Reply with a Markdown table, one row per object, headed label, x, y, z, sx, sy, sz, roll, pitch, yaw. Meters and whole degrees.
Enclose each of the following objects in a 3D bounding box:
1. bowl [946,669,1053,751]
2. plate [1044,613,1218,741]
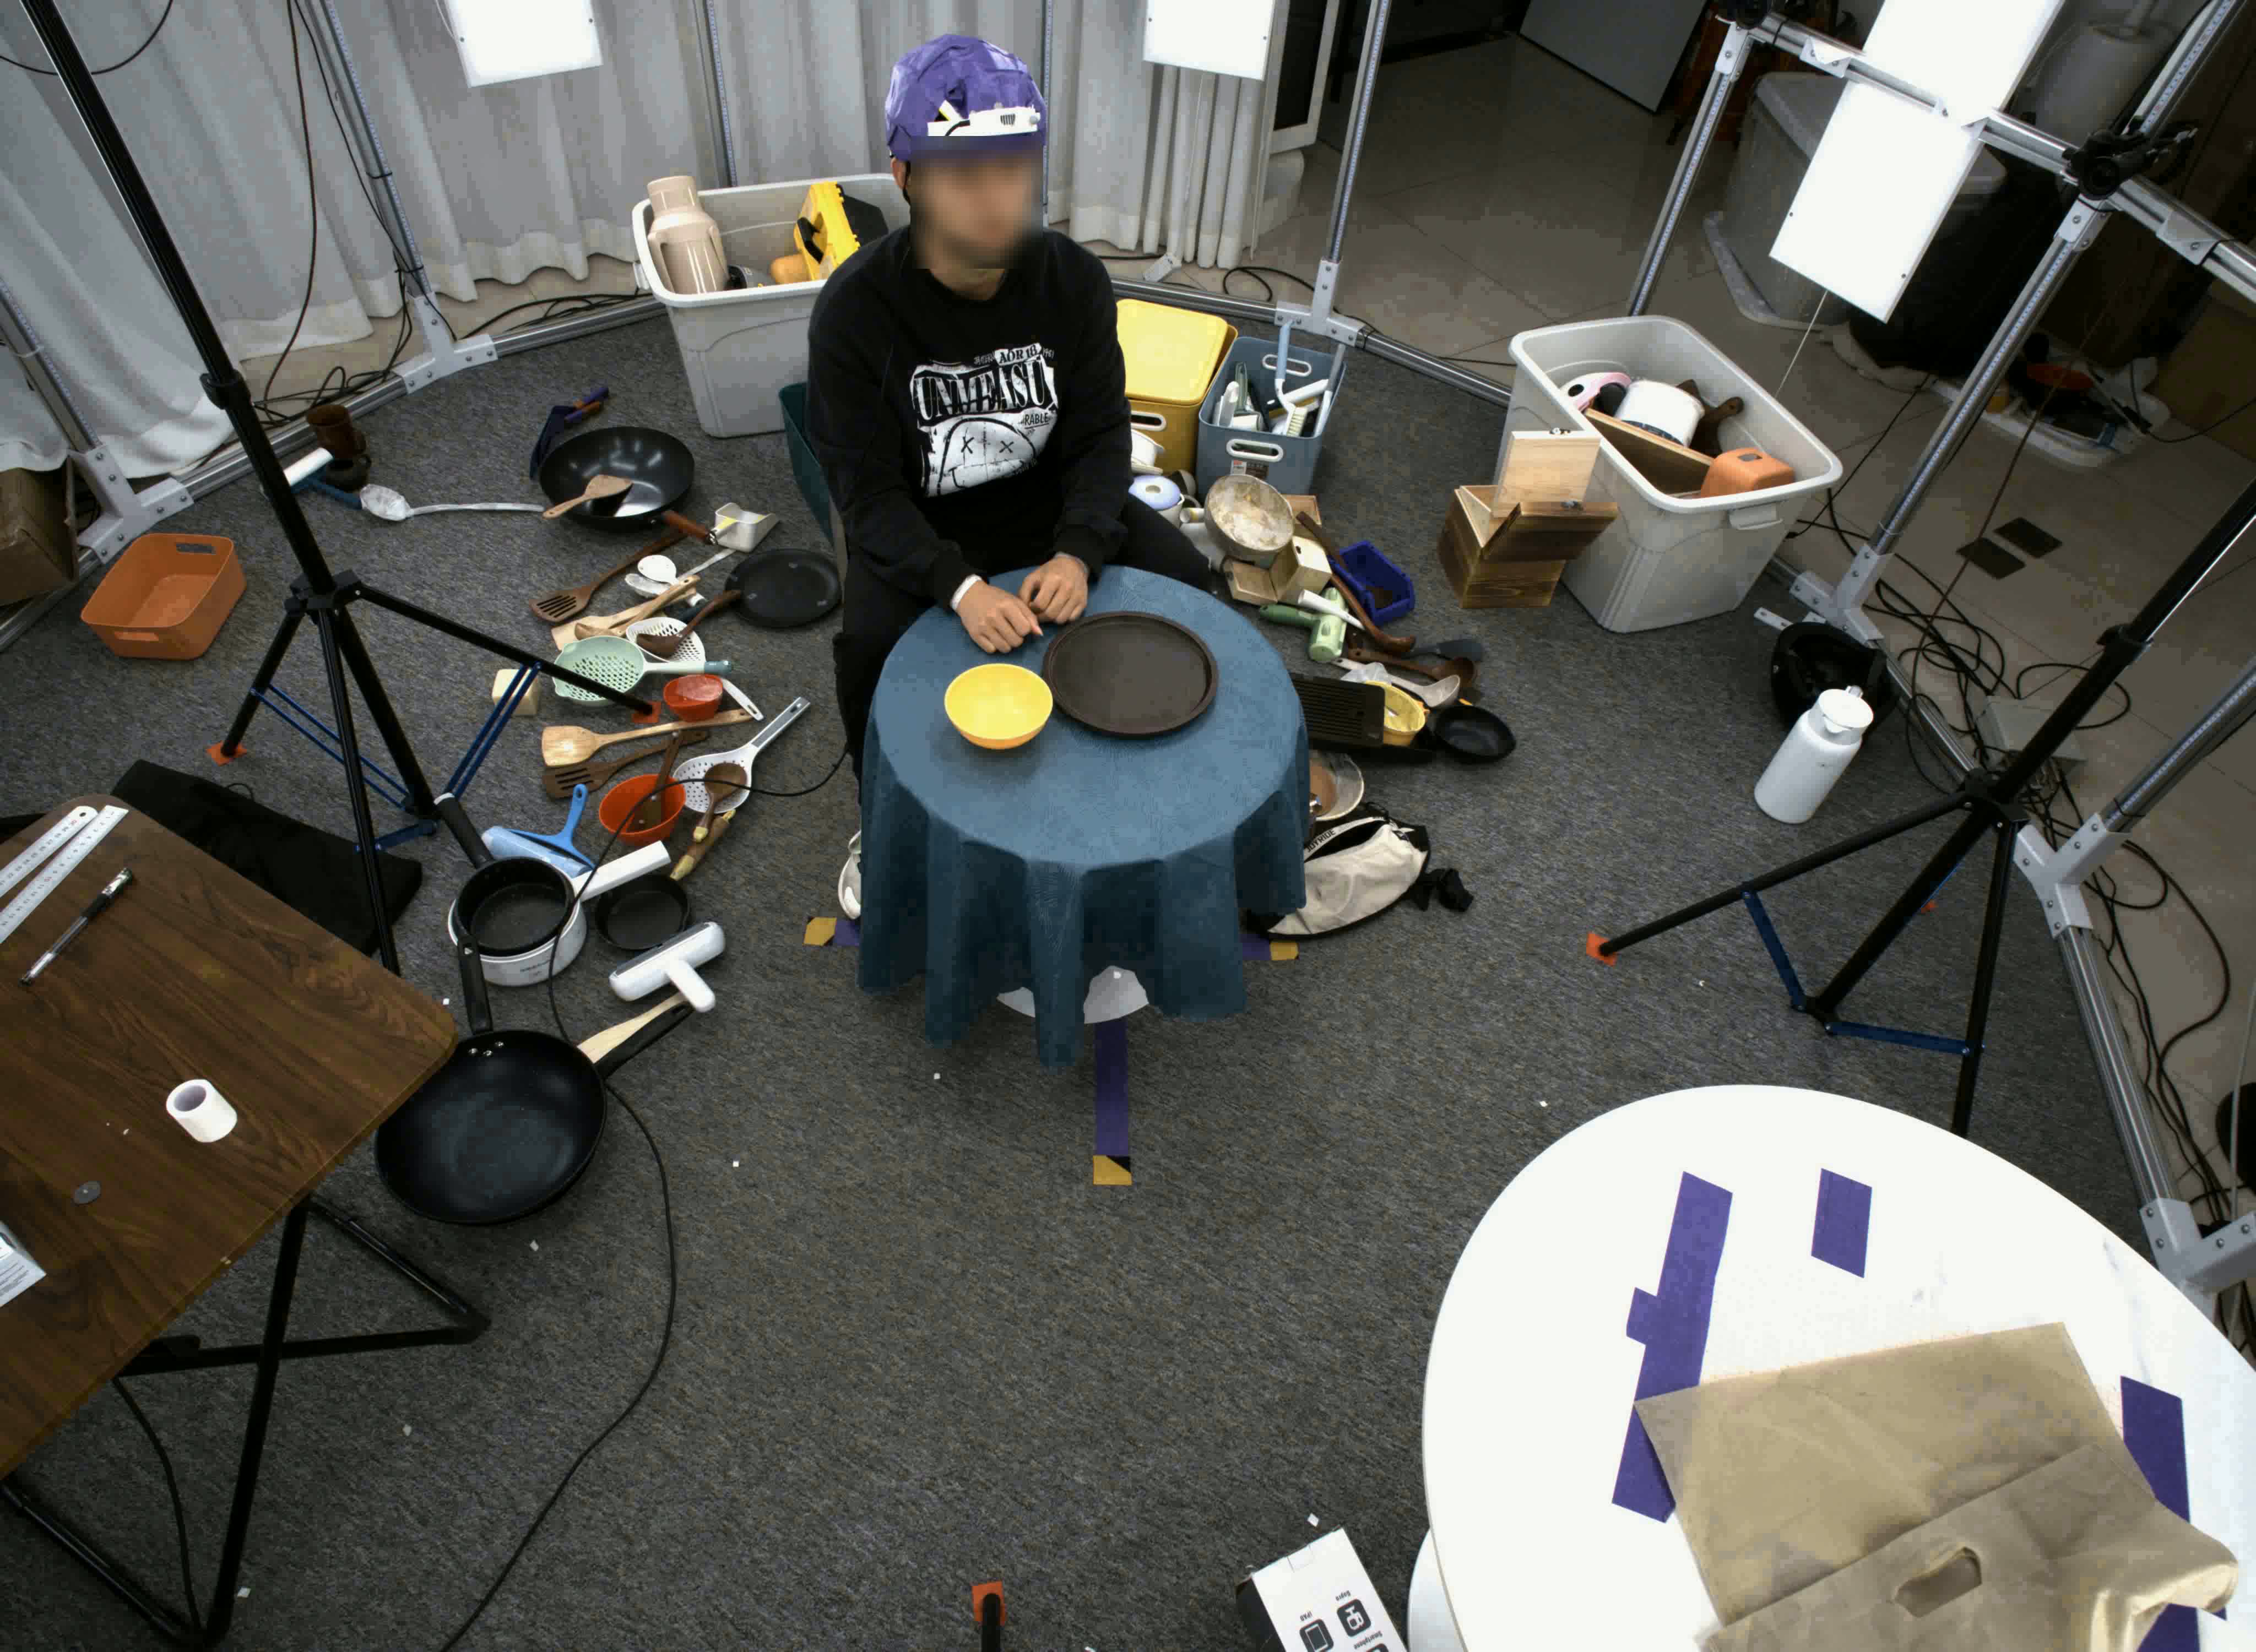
| label | x | y | z | sx | sy | sz | roll | pitch | yaw |
| --- | --- | --- | --- | --- | --- | --- | --- | --- | --- |
| bowl | -0.176 | -0.148 | 1.766 | 0.145 | 0.058 | 0.149 | 2 | 46 | -3 |
| plate | 0.005 | -0.217 | 1.860 | 0.254 | 0.028 | 0.261 | 1 | 49 | -1 |
